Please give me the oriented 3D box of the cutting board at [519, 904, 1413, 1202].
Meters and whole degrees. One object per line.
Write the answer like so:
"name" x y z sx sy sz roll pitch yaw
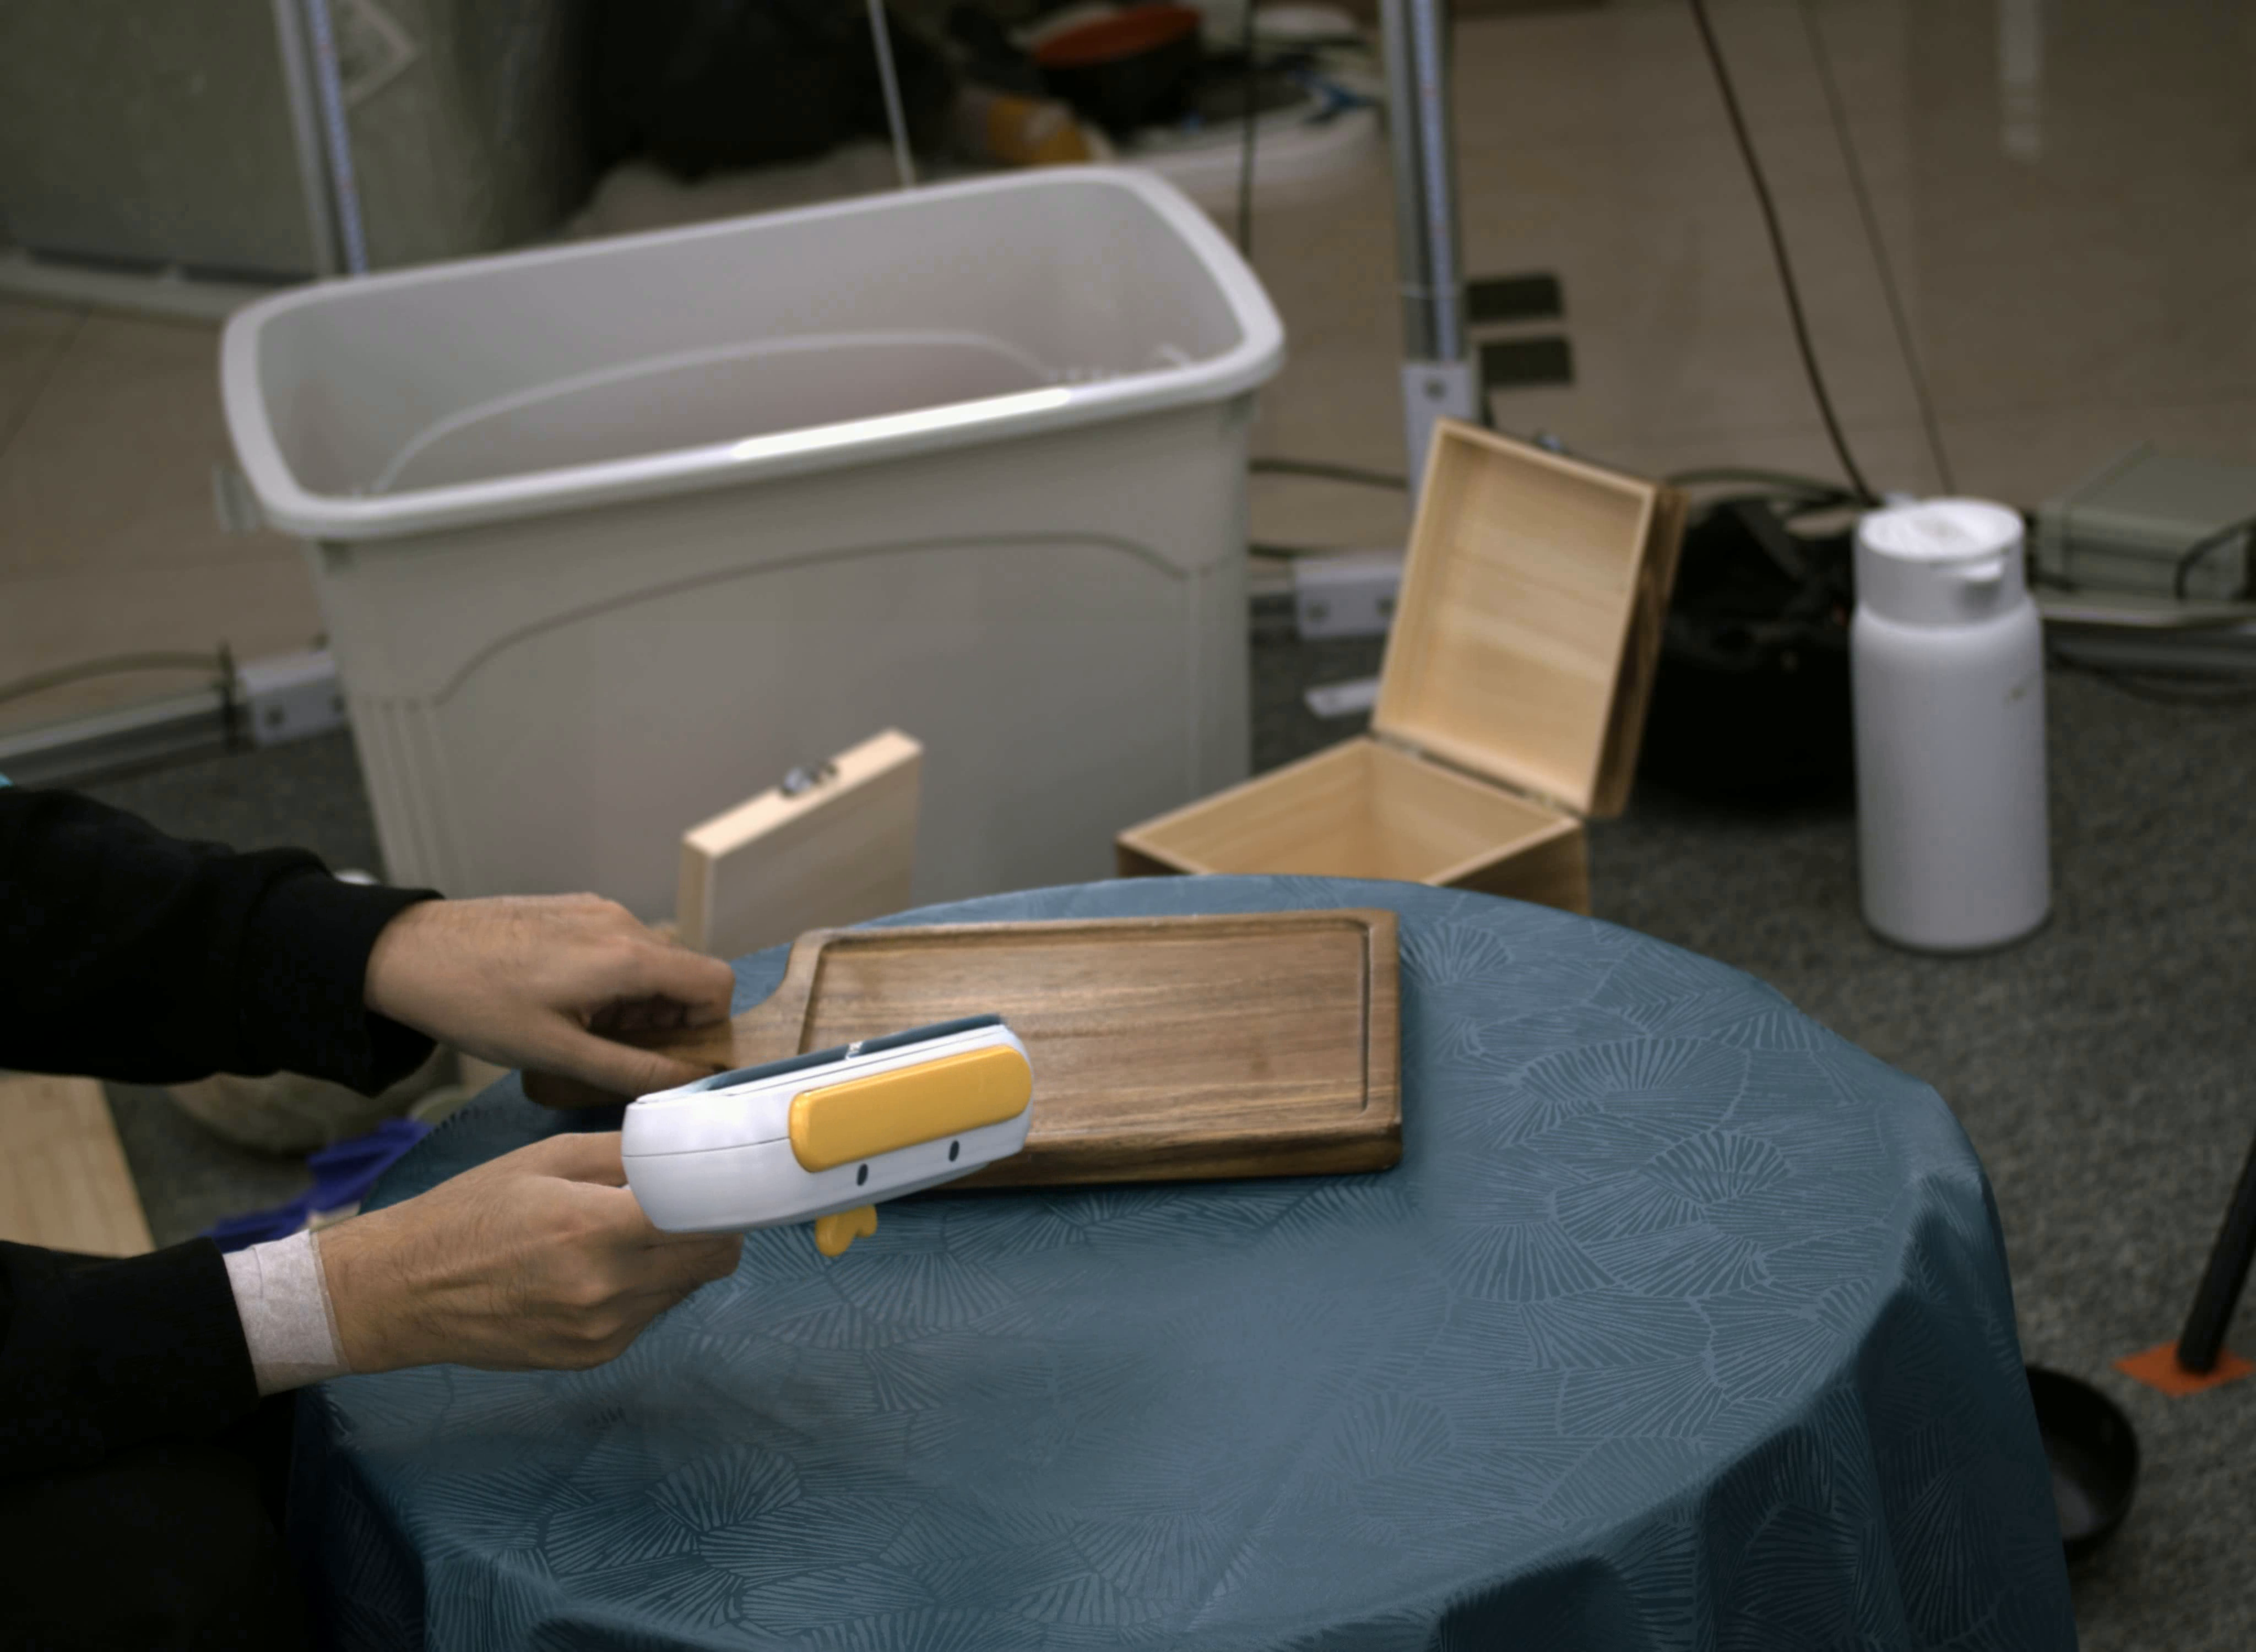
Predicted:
"cutting board" -0.065 0.091 2.230 0.351 0.023 0.198 -4 26 4

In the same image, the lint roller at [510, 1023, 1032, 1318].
"lint roller" -0.148 0.126 1.989 0.193 0.074 0.191 -17 1 35
